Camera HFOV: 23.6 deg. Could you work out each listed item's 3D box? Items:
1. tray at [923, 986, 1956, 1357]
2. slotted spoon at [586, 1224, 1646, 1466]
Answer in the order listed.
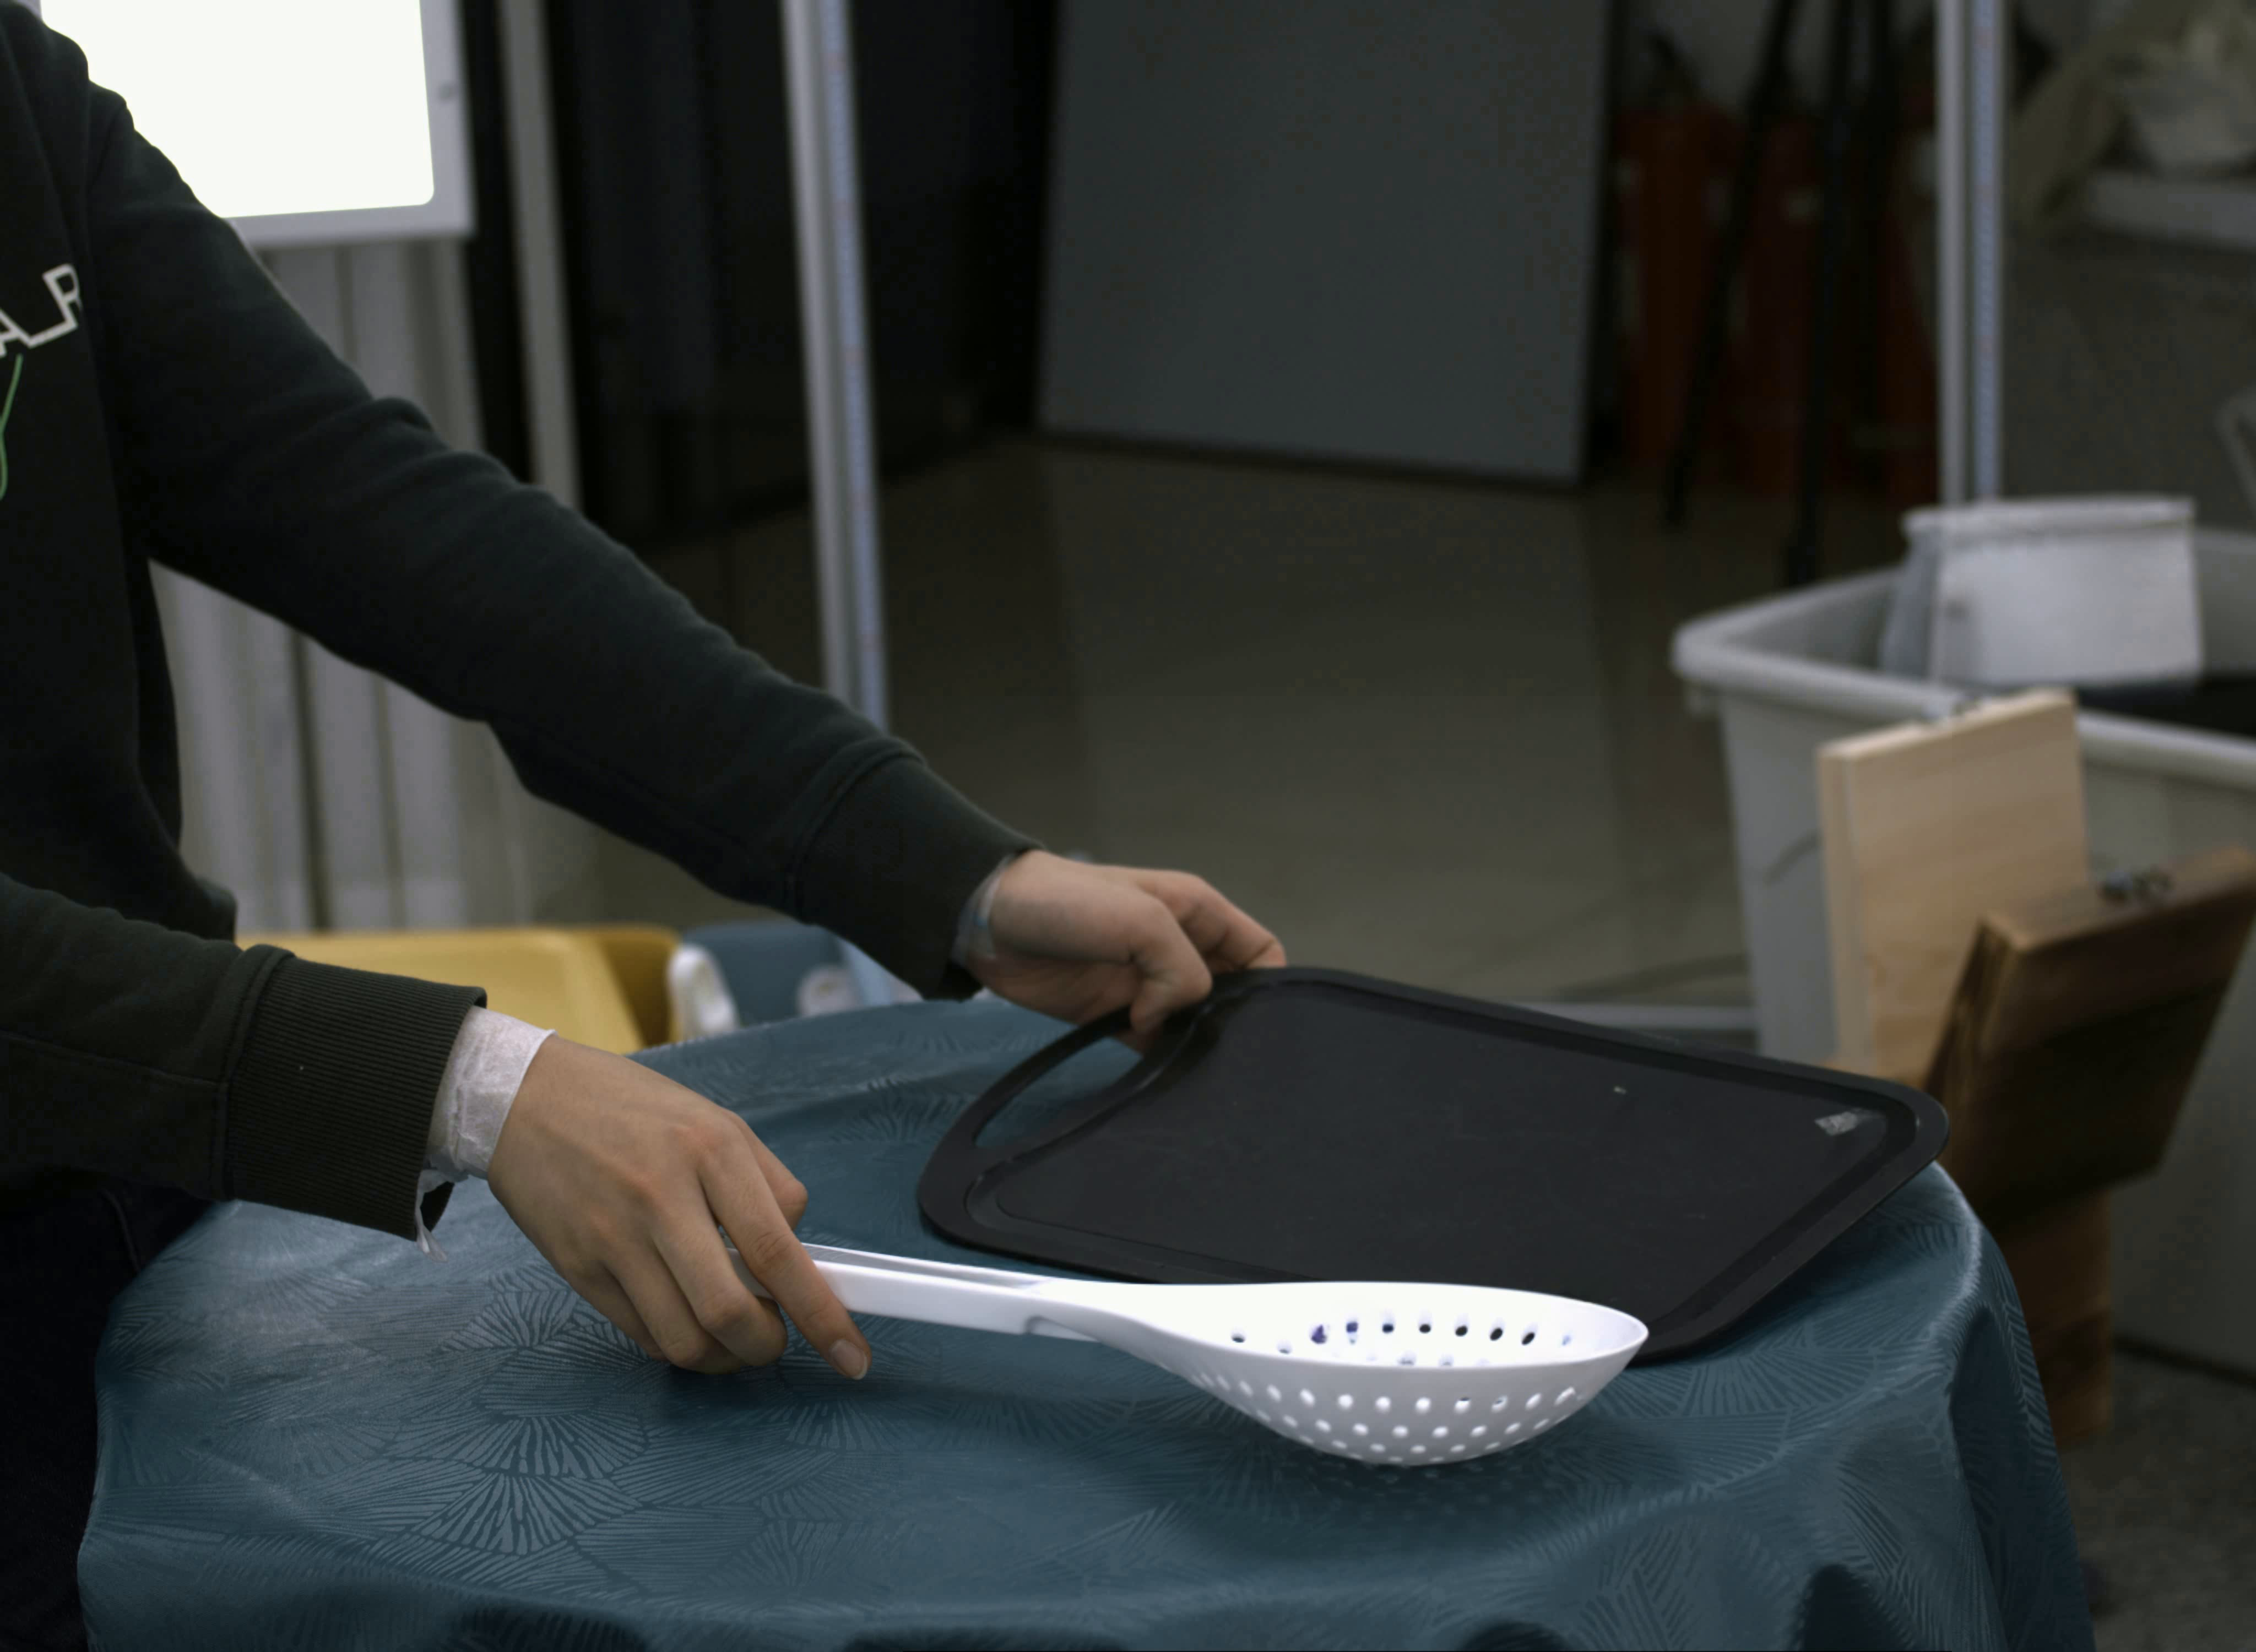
[{"bbox_3d":[0.090,0.105,1.731,0.328,0.010,0.208,8,27,39],"label":"tray"},{"bbox_3d":[-0.013,0.140,1.567,0.351,0.046,0.133,9,8,32],"label":"slotted spoon"}]
